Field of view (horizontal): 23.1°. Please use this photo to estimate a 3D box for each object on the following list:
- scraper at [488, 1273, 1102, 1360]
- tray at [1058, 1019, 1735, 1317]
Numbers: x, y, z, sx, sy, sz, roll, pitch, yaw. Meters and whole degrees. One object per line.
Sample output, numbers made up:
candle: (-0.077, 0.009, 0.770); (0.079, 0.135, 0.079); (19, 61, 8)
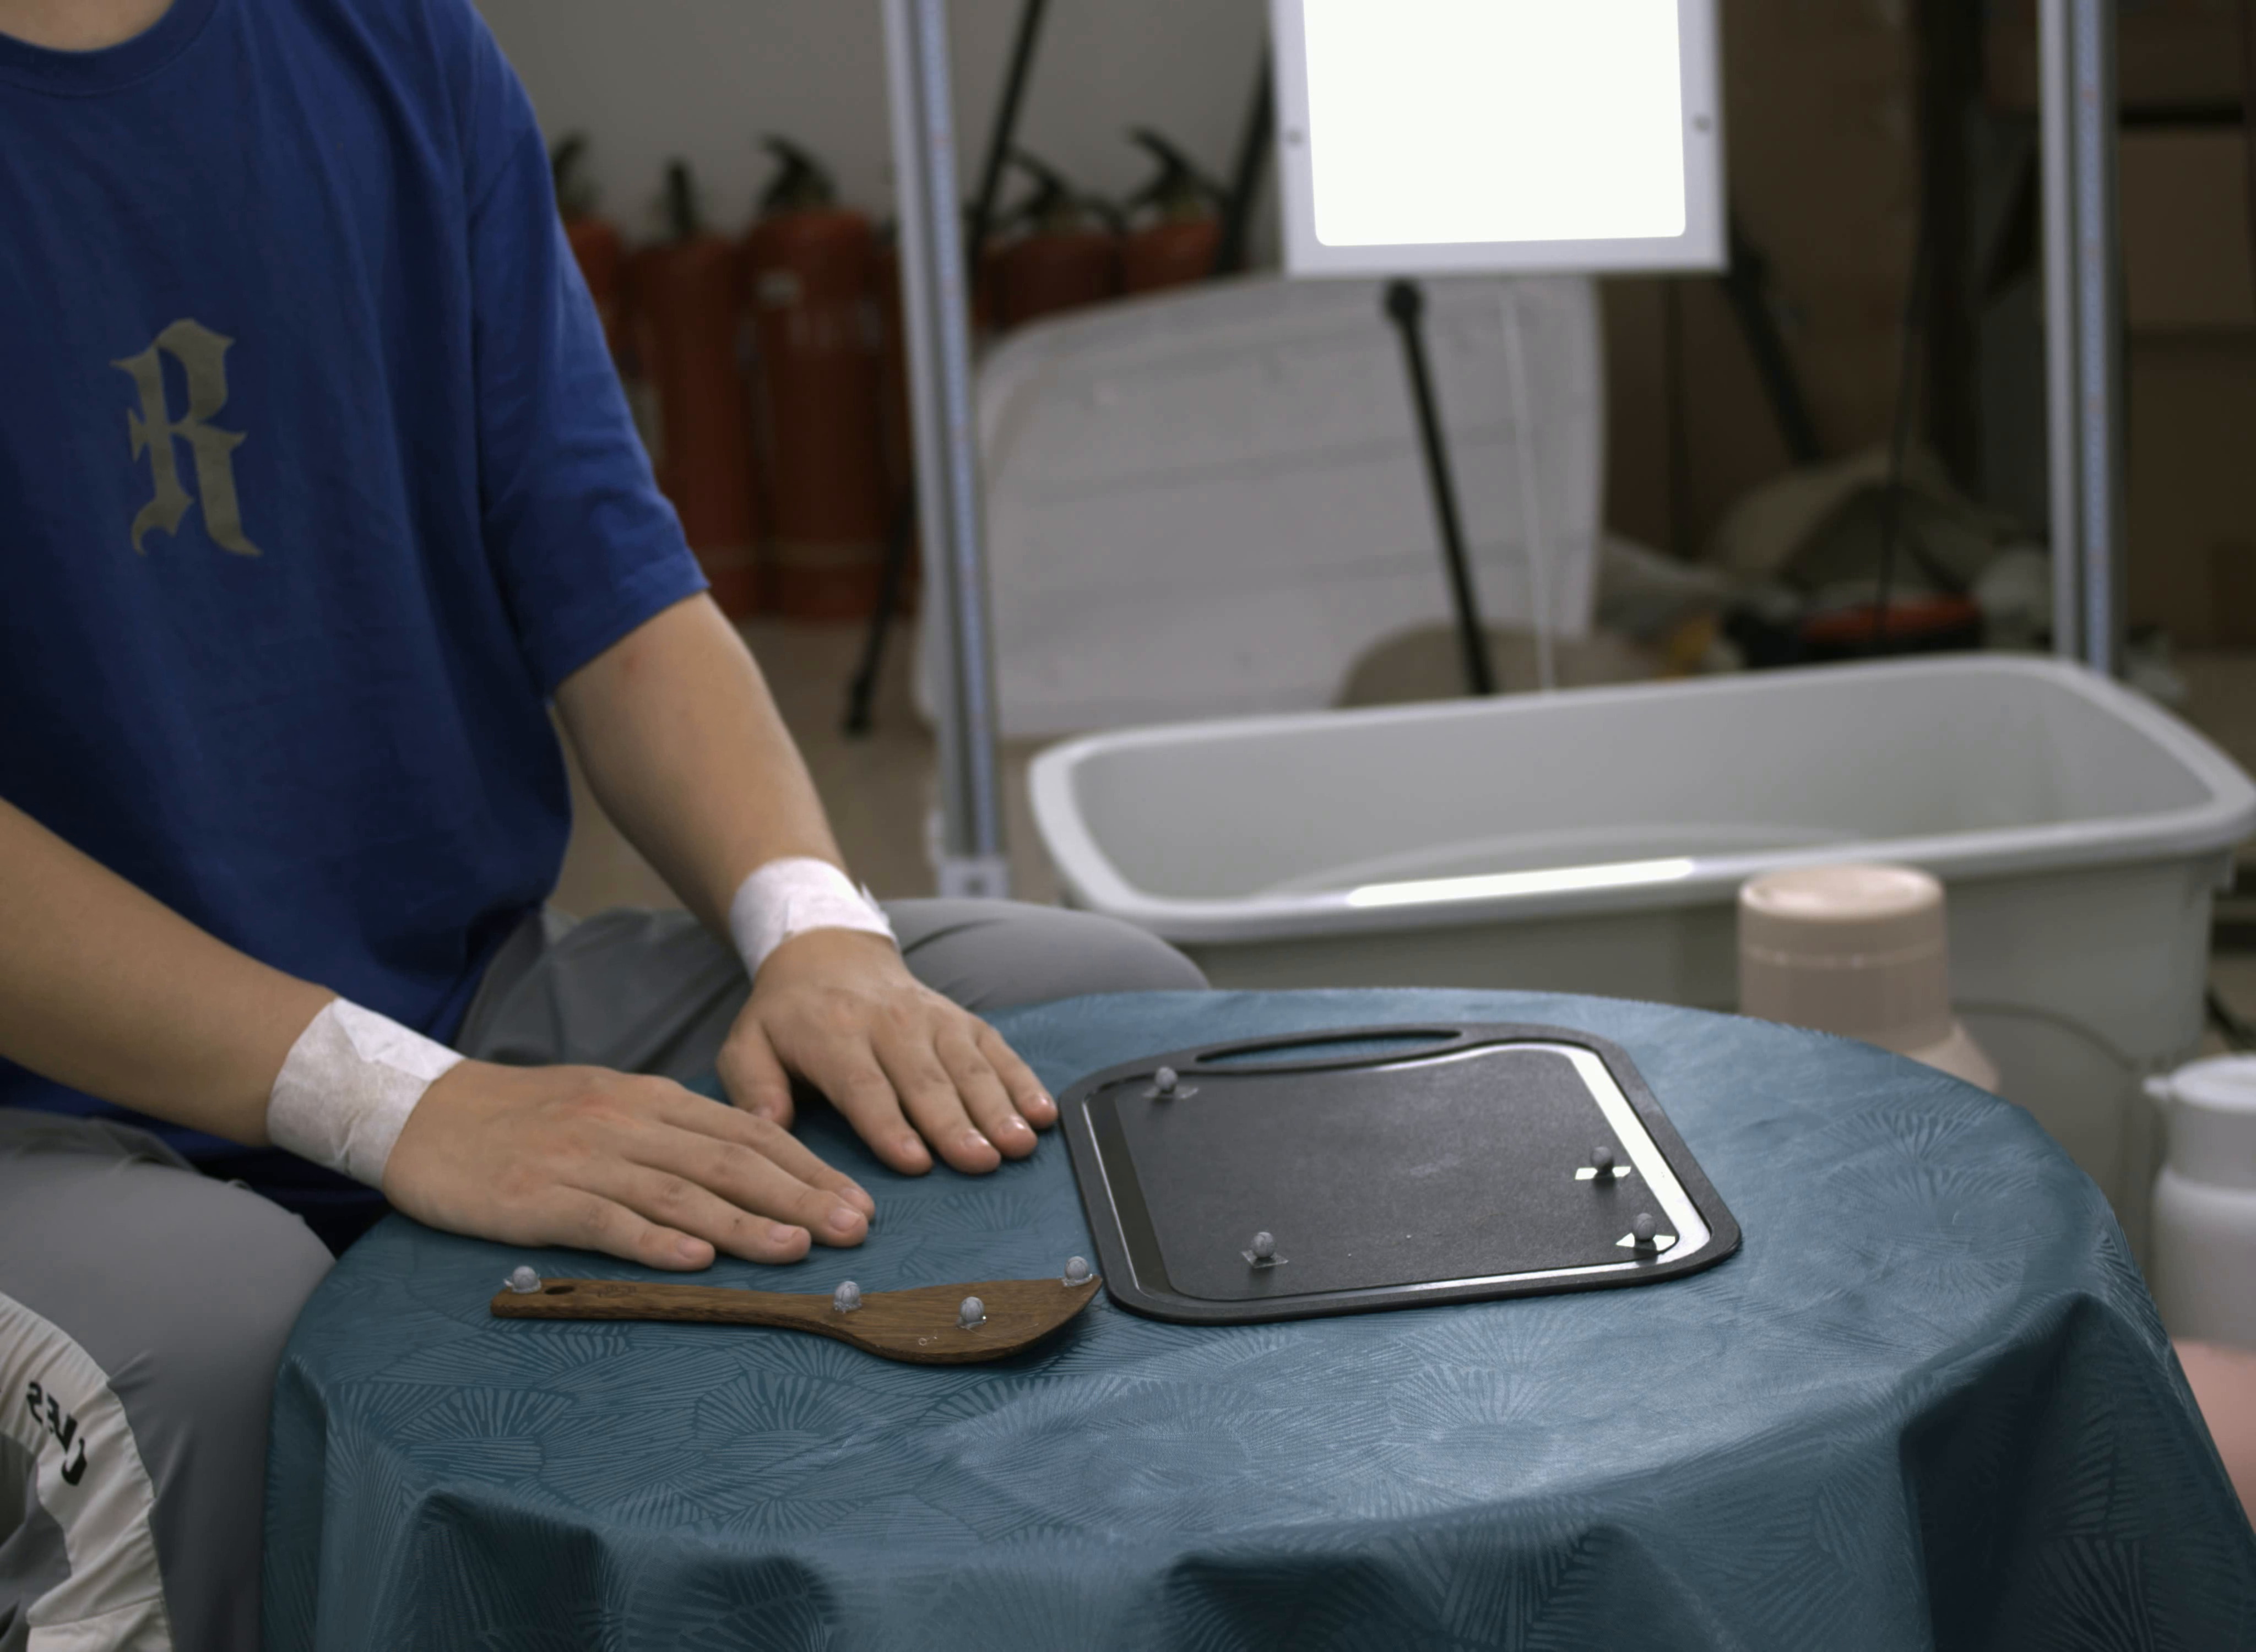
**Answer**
scraper: (-0.112, 0.157, 1.796); (0.214, 0.011, 0.074); (0, 14, 25)
tray: (0.085, 0.112, 1.909); (0.210, 0.010, 0.325); (-6, 14, -2)
